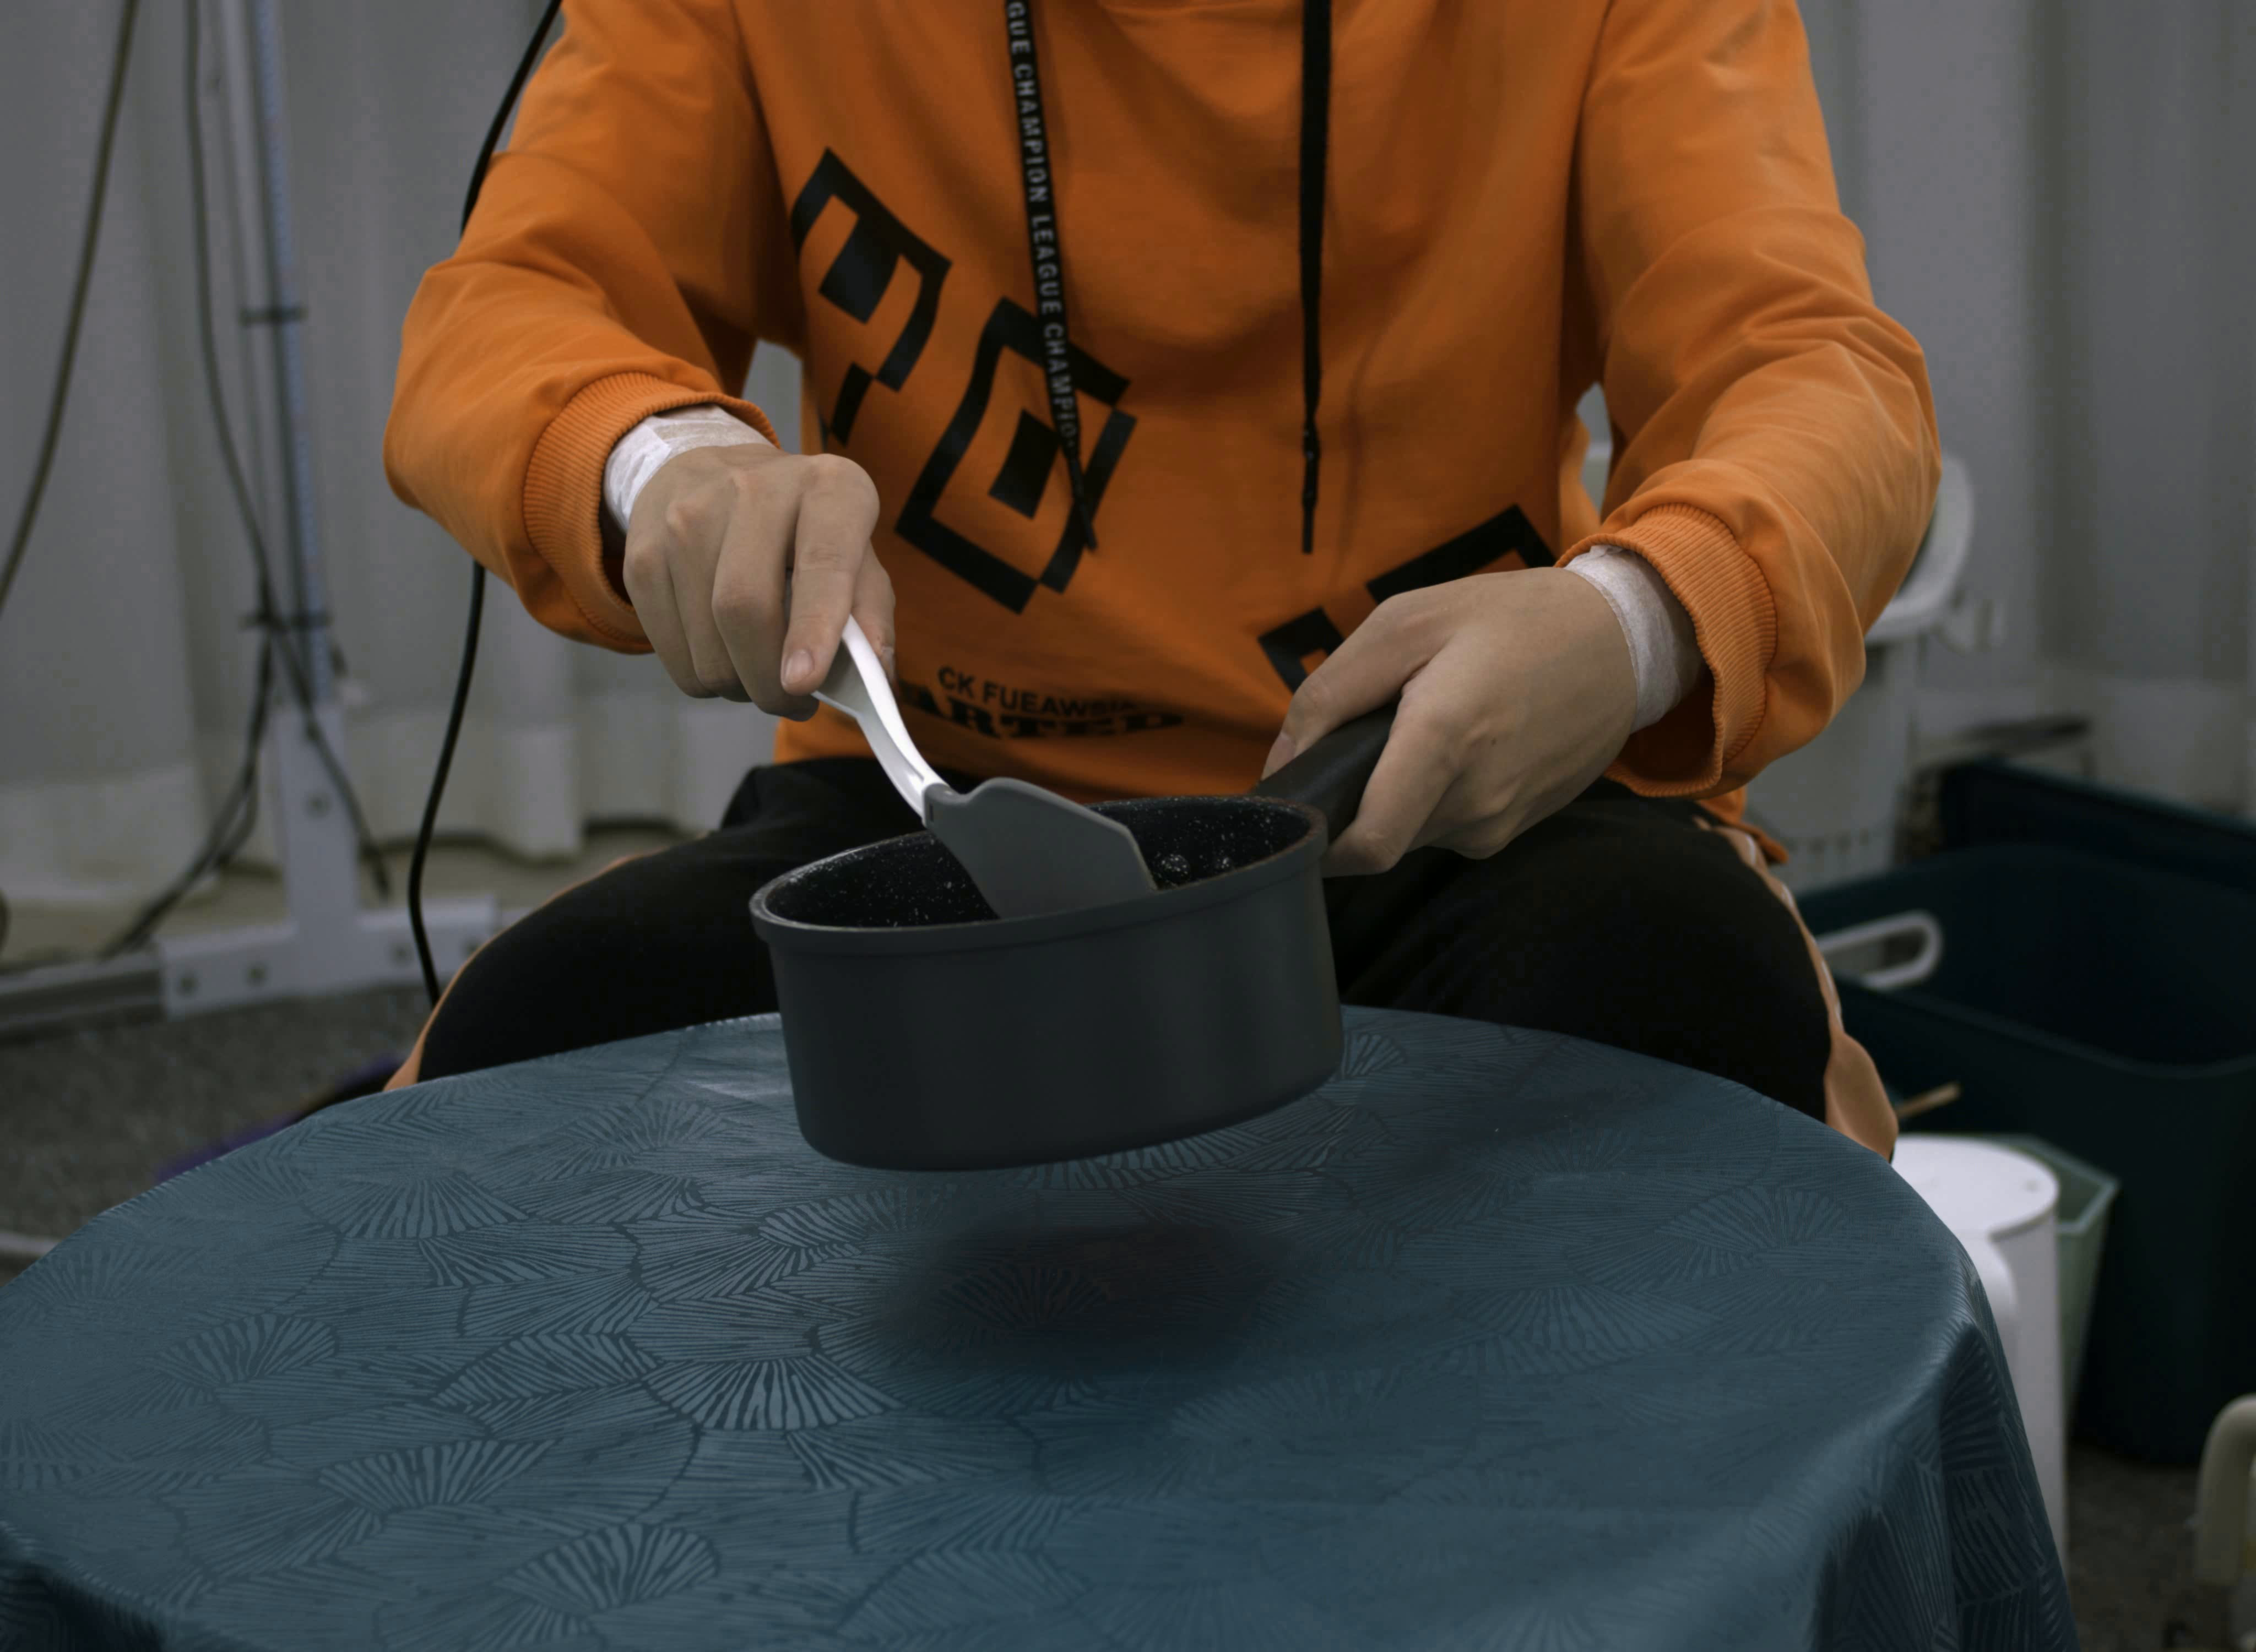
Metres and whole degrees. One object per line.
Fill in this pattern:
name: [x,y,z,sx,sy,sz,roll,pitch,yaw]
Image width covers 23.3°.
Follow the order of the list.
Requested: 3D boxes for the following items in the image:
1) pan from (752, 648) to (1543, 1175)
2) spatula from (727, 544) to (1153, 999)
pan: [0.027,0.024,1.666,0.172,0.086,0.329,1,15,38]
spatula: [-0.059,-0.023,1.645,0.032,0.058,0.291,-8,24,-22]
